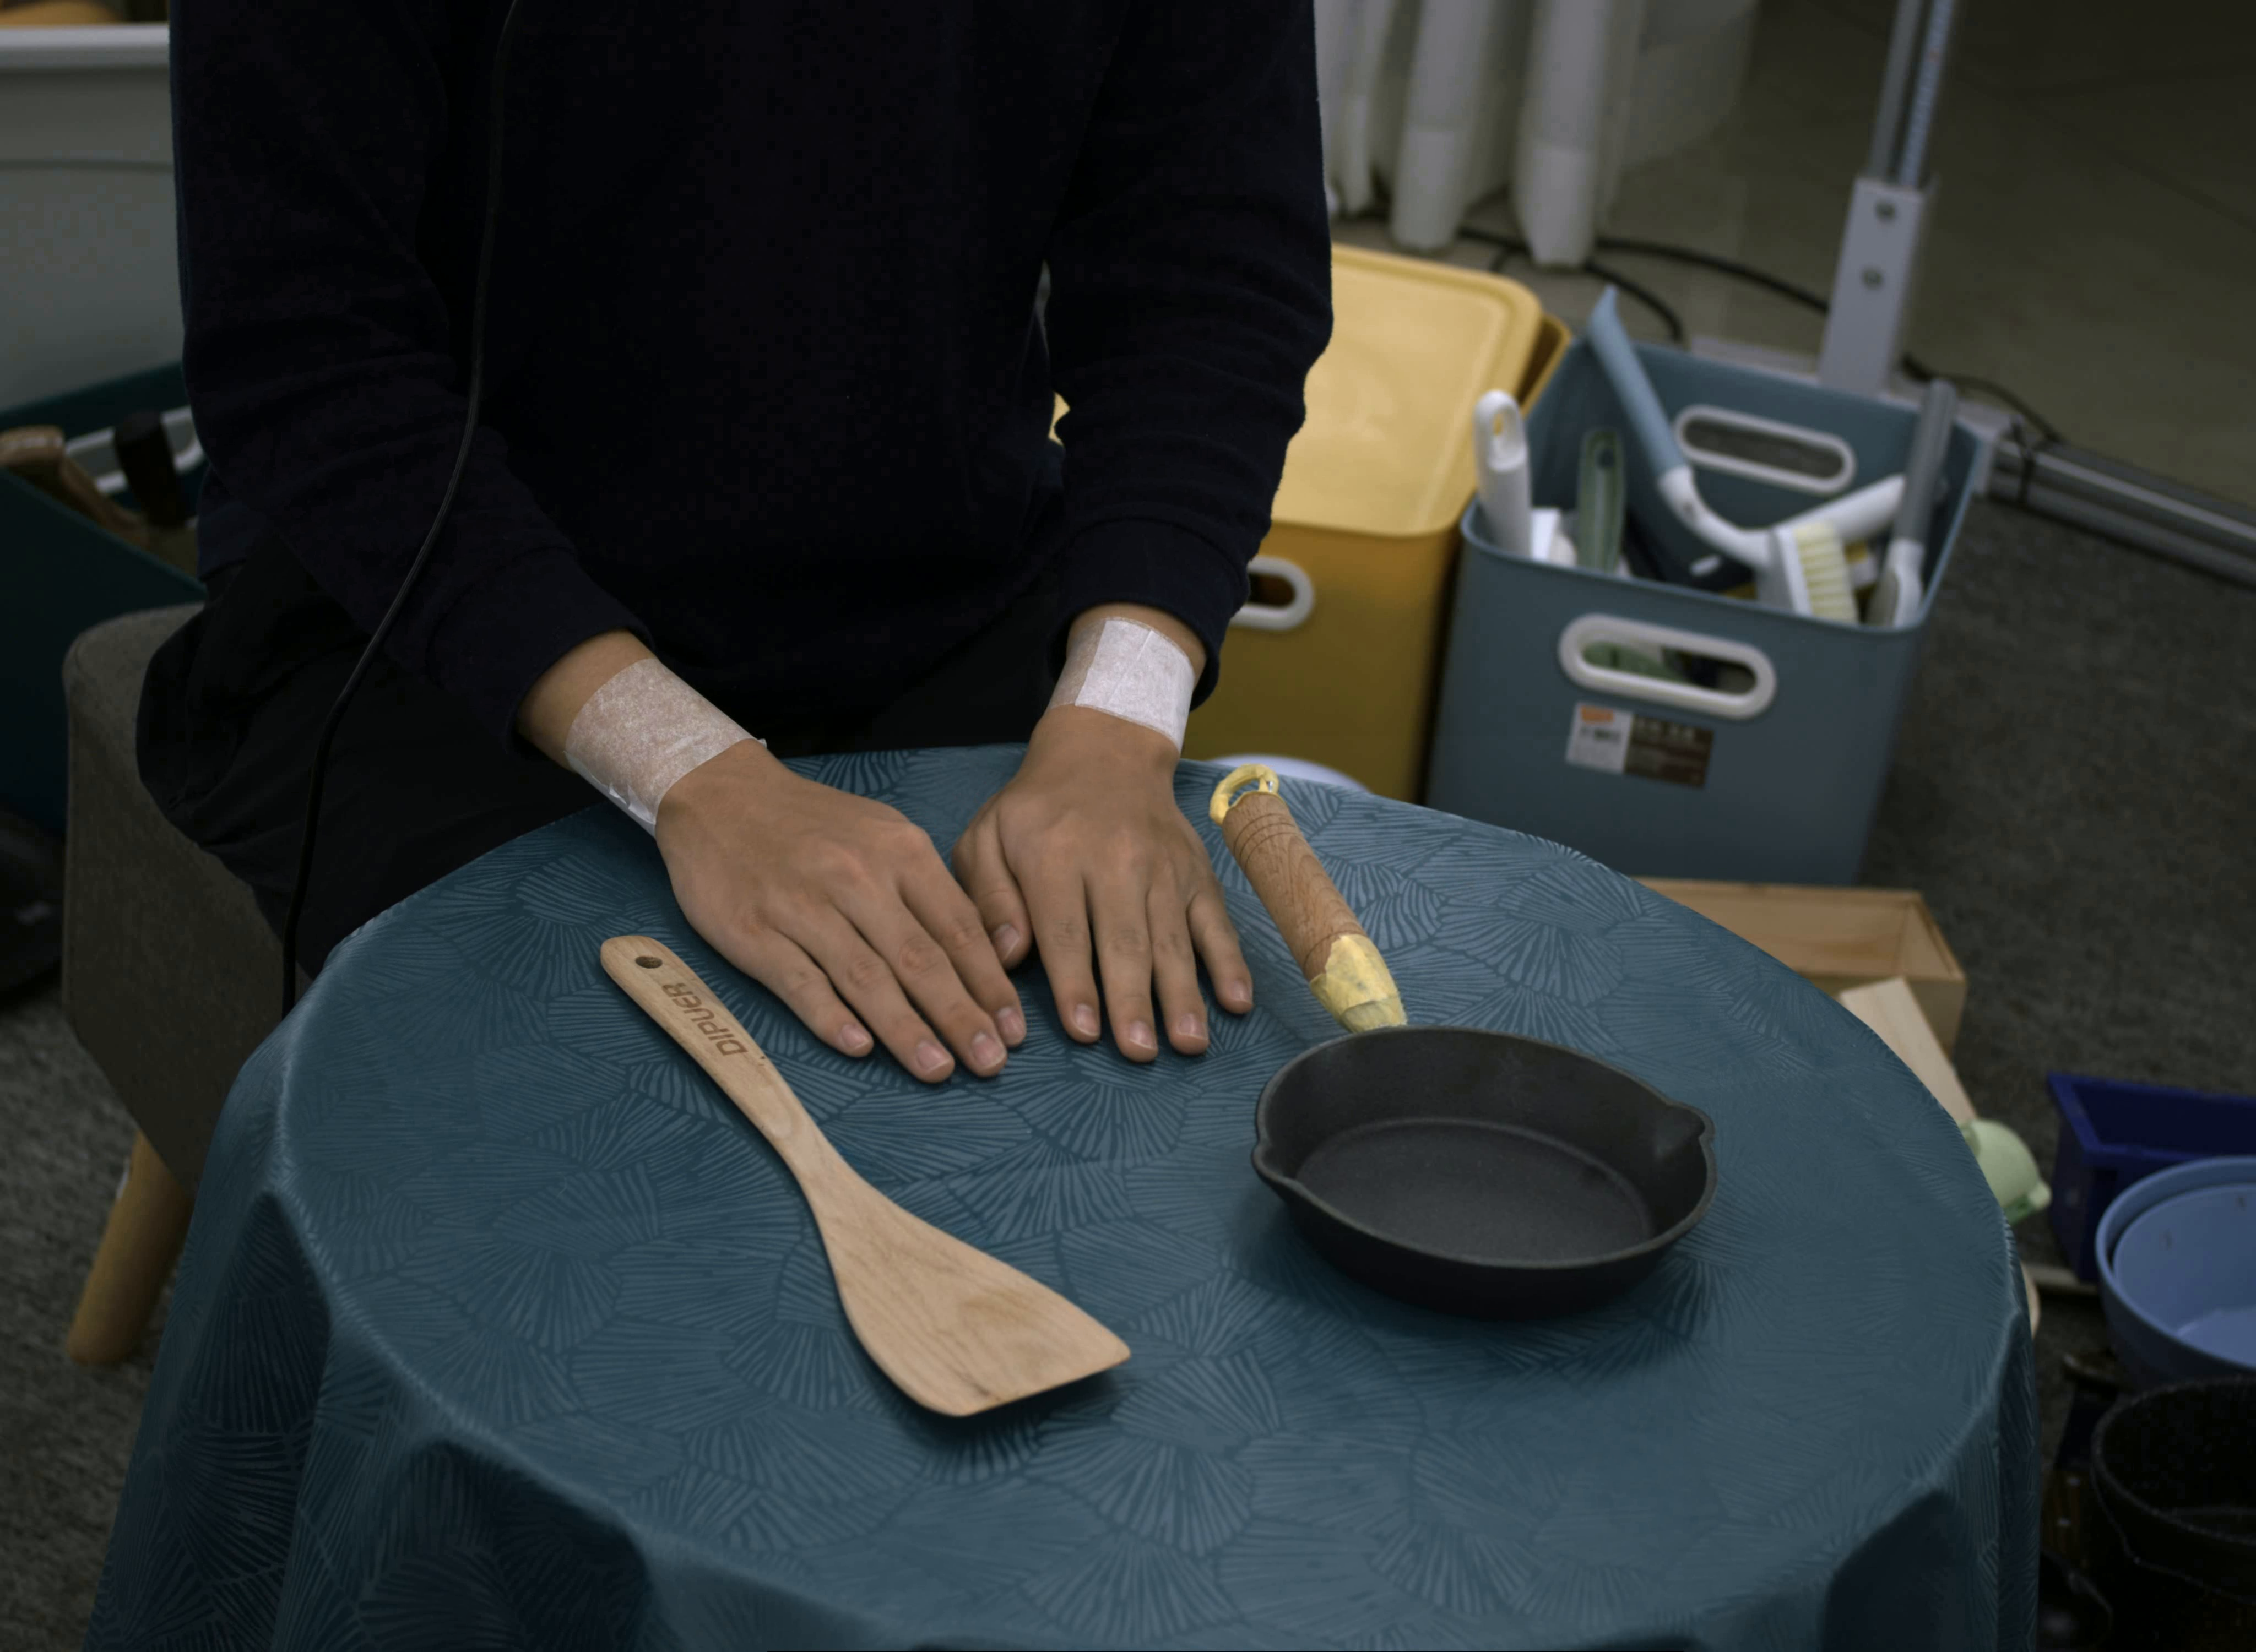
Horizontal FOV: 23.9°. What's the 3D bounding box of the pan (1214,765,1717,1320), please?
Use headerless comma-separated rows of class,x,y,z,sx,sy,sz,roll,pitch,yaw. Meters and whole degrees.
pan,0.093,0.073,1.867,0.168,0.049,0.327,-4,30,-19

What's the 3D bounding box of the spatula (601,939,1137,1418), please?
spatula,-0.101,0.112,1.786,0.079,0.016,0.330,-8,30,-28
